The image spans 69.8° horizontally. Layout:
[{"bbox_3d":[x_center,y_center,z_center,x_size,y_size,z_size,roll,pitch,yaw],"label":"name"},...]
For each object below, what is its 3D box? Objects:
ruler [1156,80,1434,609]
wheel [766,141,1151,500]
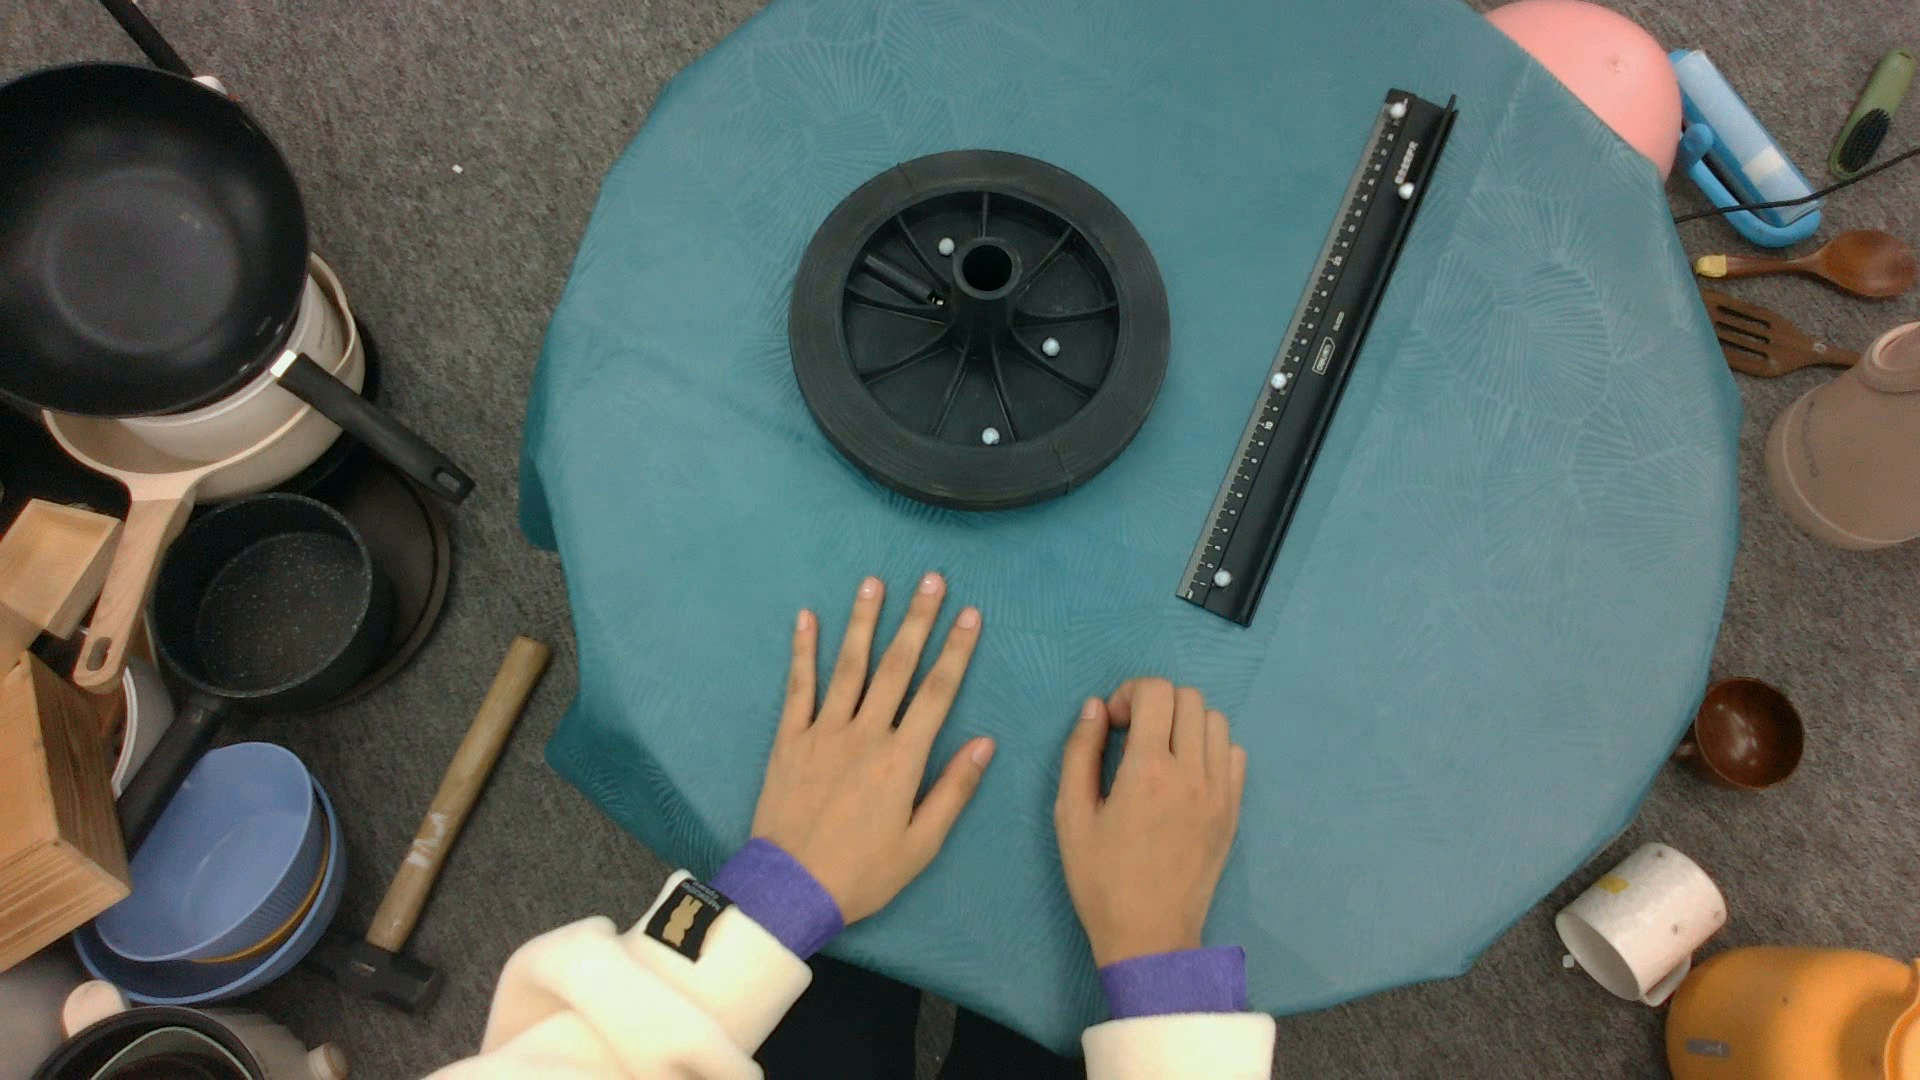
[{"bbox_3d":[0.176,-0.111,0.700,0.039,0.017,0.313,24,74,7],"label":"ruler"},{"bbox_3d":[0.001,-0.117,0.659,0.190,0.079,0.188,10,73,0],"label":"wheel"}]
